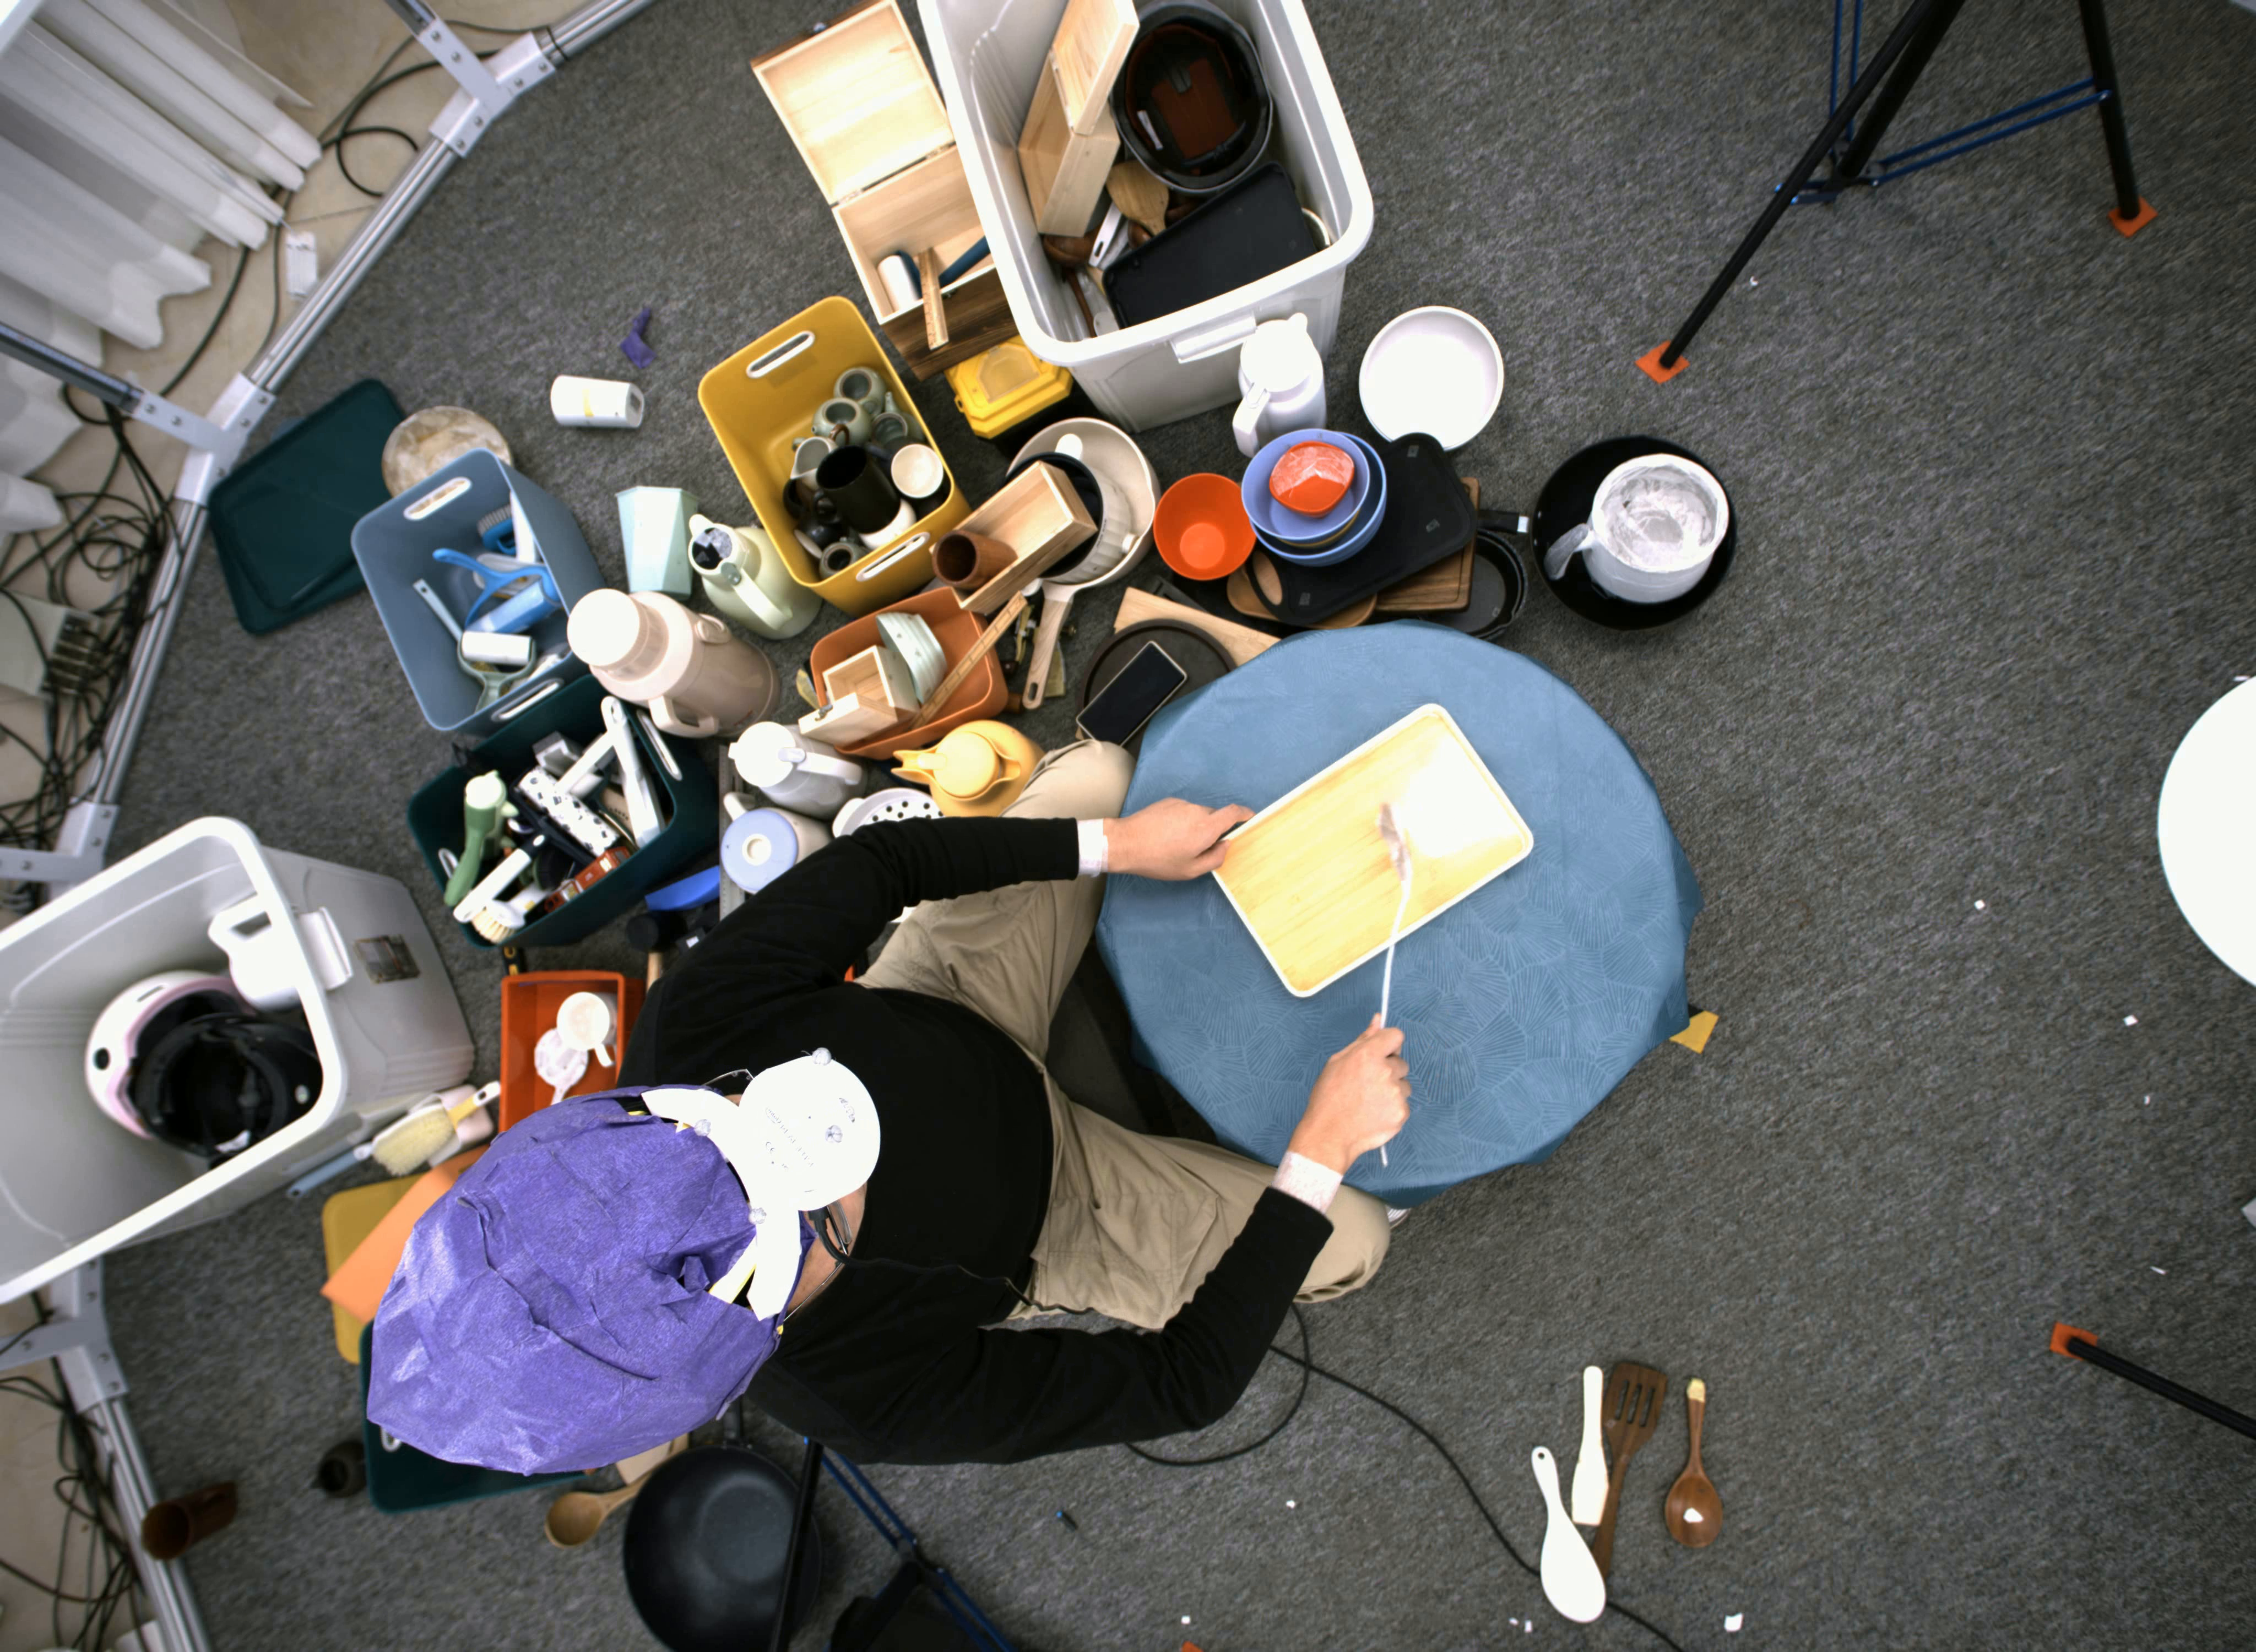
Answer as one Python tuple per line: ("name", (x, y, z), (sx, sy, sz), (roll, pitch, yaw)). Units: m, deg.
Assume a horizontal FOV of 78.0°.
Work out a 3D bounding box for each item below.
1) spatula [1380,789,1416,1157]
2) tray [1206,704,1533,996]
("spatula", (0.256, 0.139, 1.364), (0.045, 0.100, 0.359), (7, 73, 9))
("tray", (0.251, 0.024, 1.452), (0.302, 0.027, 0.190), (-33, 82, 7))
